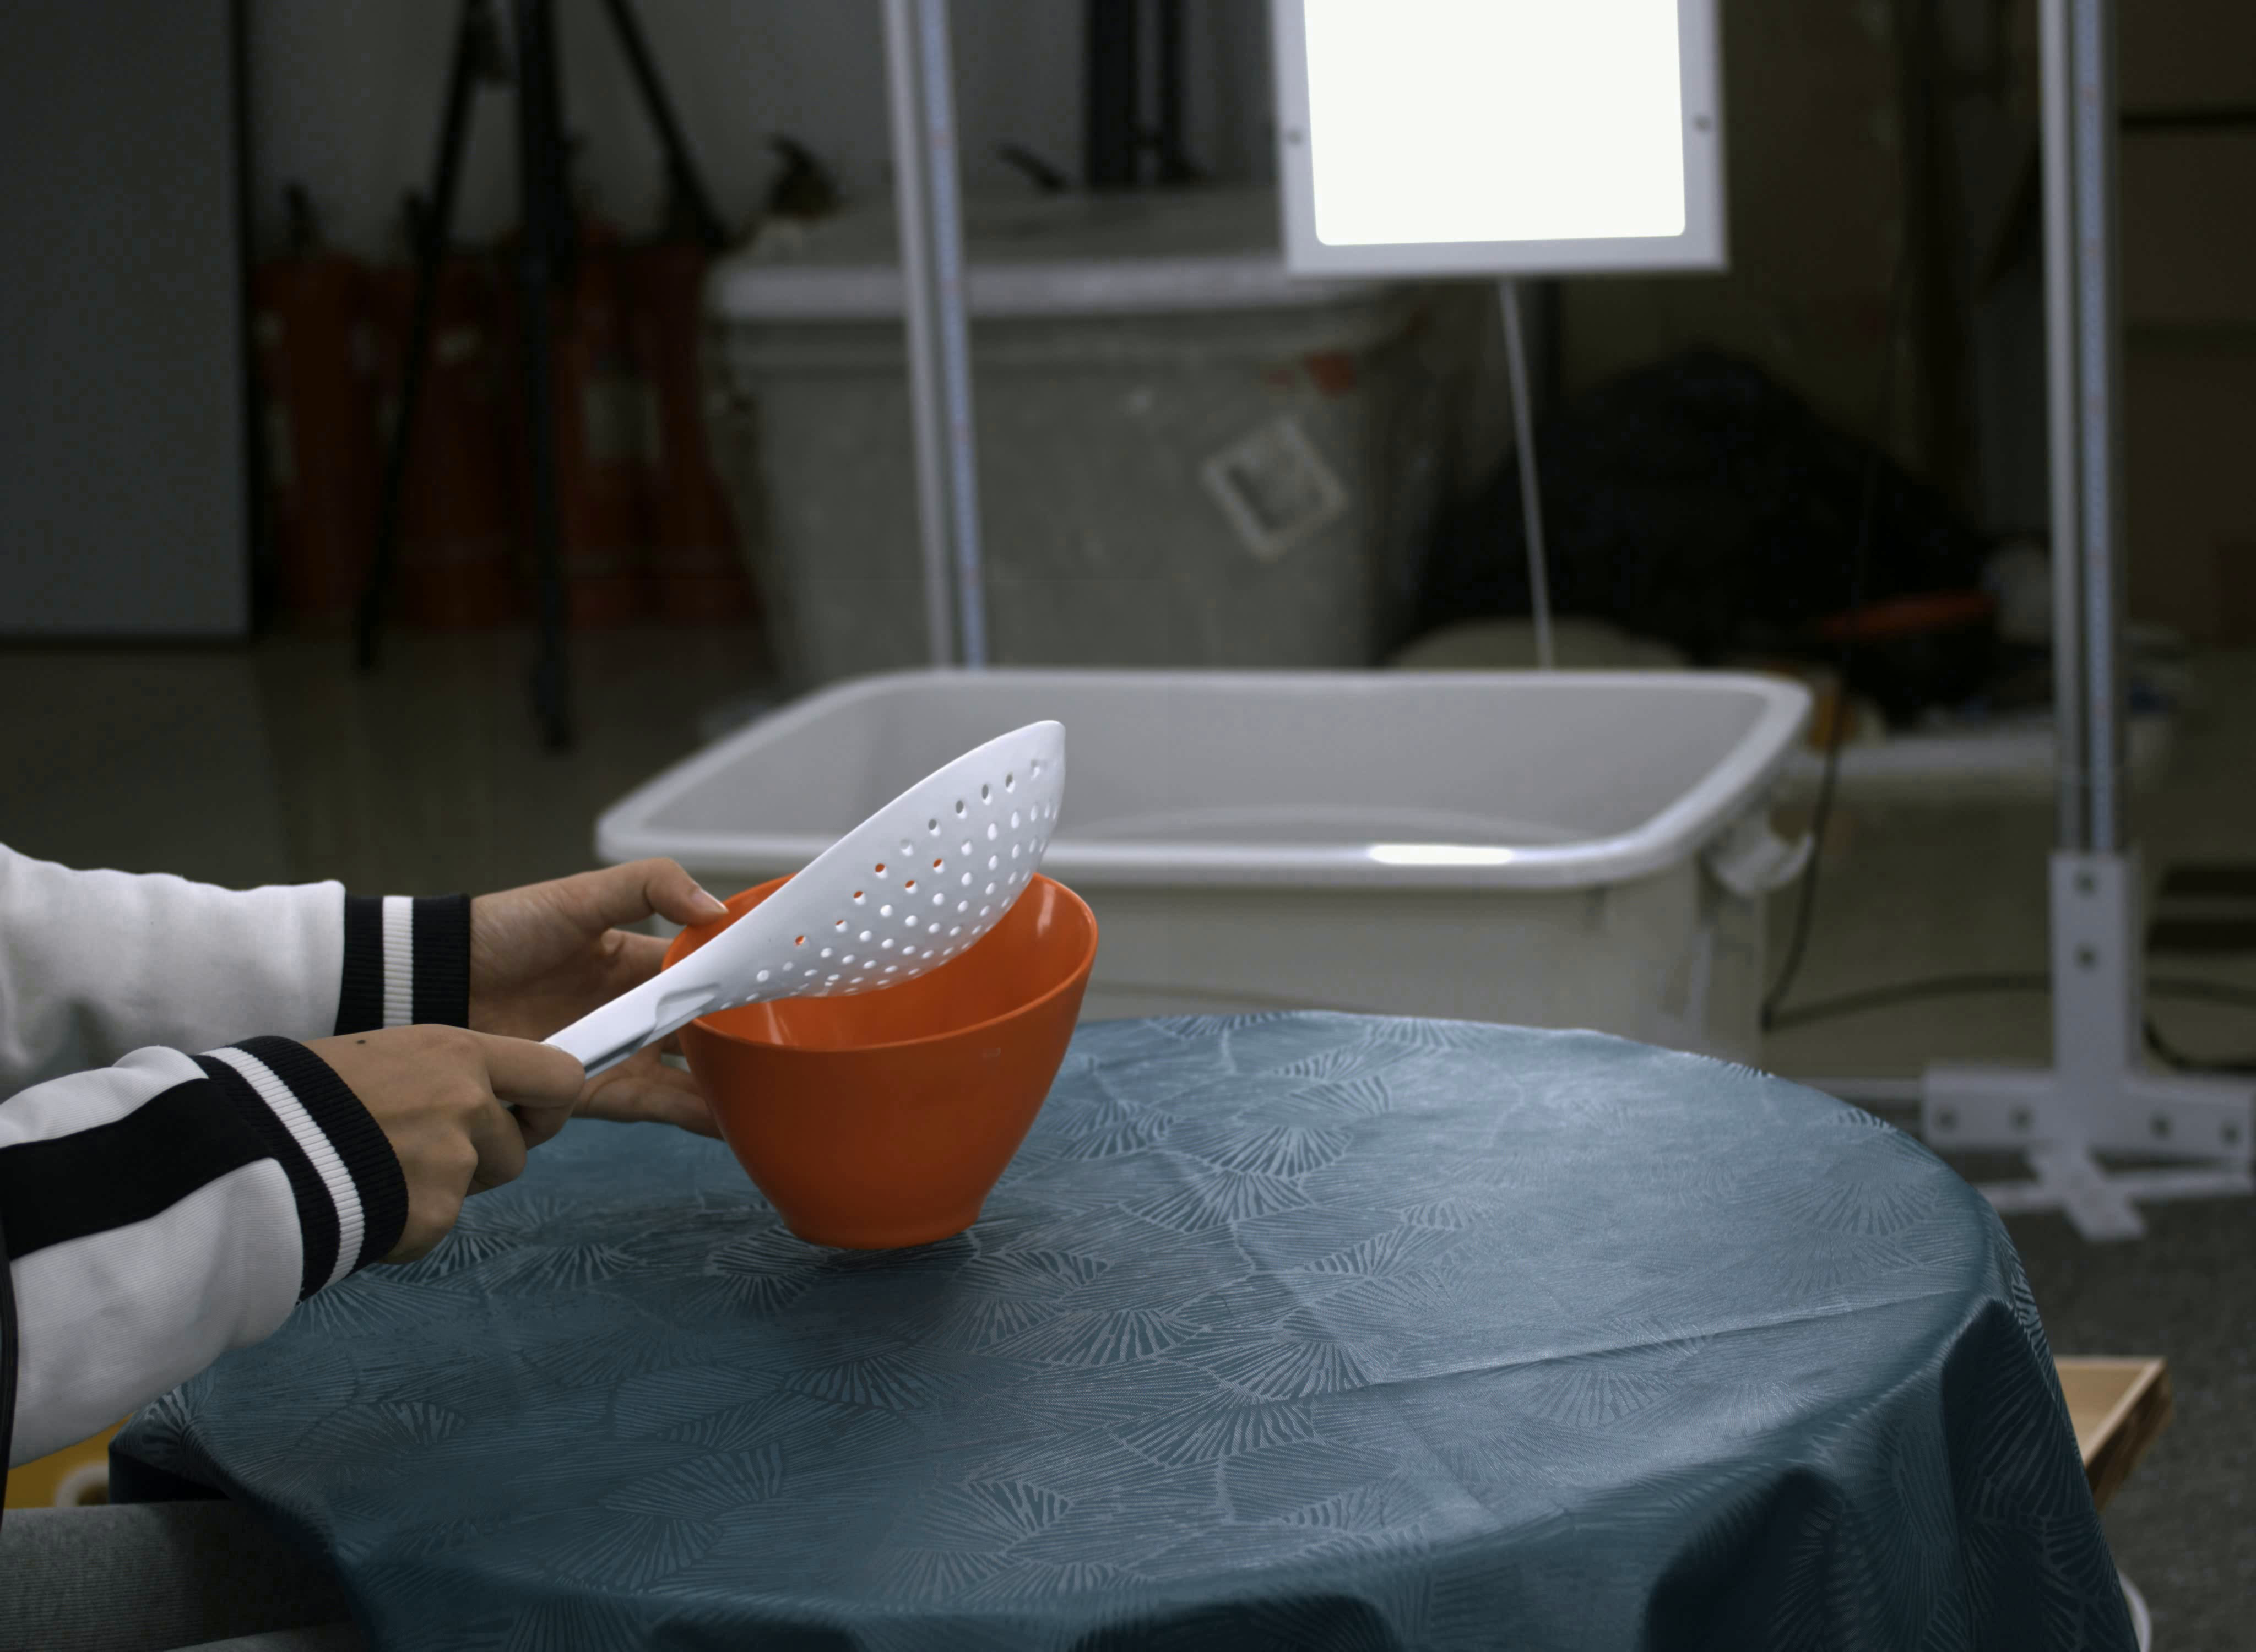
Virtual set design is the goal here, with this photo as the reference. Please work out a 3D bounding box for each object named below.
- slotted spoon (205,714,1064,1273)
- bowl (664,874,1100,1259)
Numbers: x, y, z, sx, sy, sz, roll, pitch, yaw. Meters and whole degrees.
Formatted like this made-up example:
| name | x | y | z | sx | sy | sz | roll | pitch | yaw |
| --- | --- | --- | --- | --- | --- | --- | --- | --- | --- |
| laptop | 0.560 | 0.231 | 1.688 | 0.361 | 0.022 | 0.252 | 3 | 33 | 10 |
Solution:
| name | x | y | z | sx | sy | sz | roll | pitch | yaw |
| --- | --- | --- | --- | --- | --- | --- | --- | --- | --- |
| slotted spoon | -0.148 | 0.055 | 1.747 | 0.341 | 0.046 | 0.138 | -24 | -17 | -33 |
| bowl | -0.082 | 0.083 | 1.859 | 0.147 | 0.105 | 0.148 | -2 | 16 | -1 |
